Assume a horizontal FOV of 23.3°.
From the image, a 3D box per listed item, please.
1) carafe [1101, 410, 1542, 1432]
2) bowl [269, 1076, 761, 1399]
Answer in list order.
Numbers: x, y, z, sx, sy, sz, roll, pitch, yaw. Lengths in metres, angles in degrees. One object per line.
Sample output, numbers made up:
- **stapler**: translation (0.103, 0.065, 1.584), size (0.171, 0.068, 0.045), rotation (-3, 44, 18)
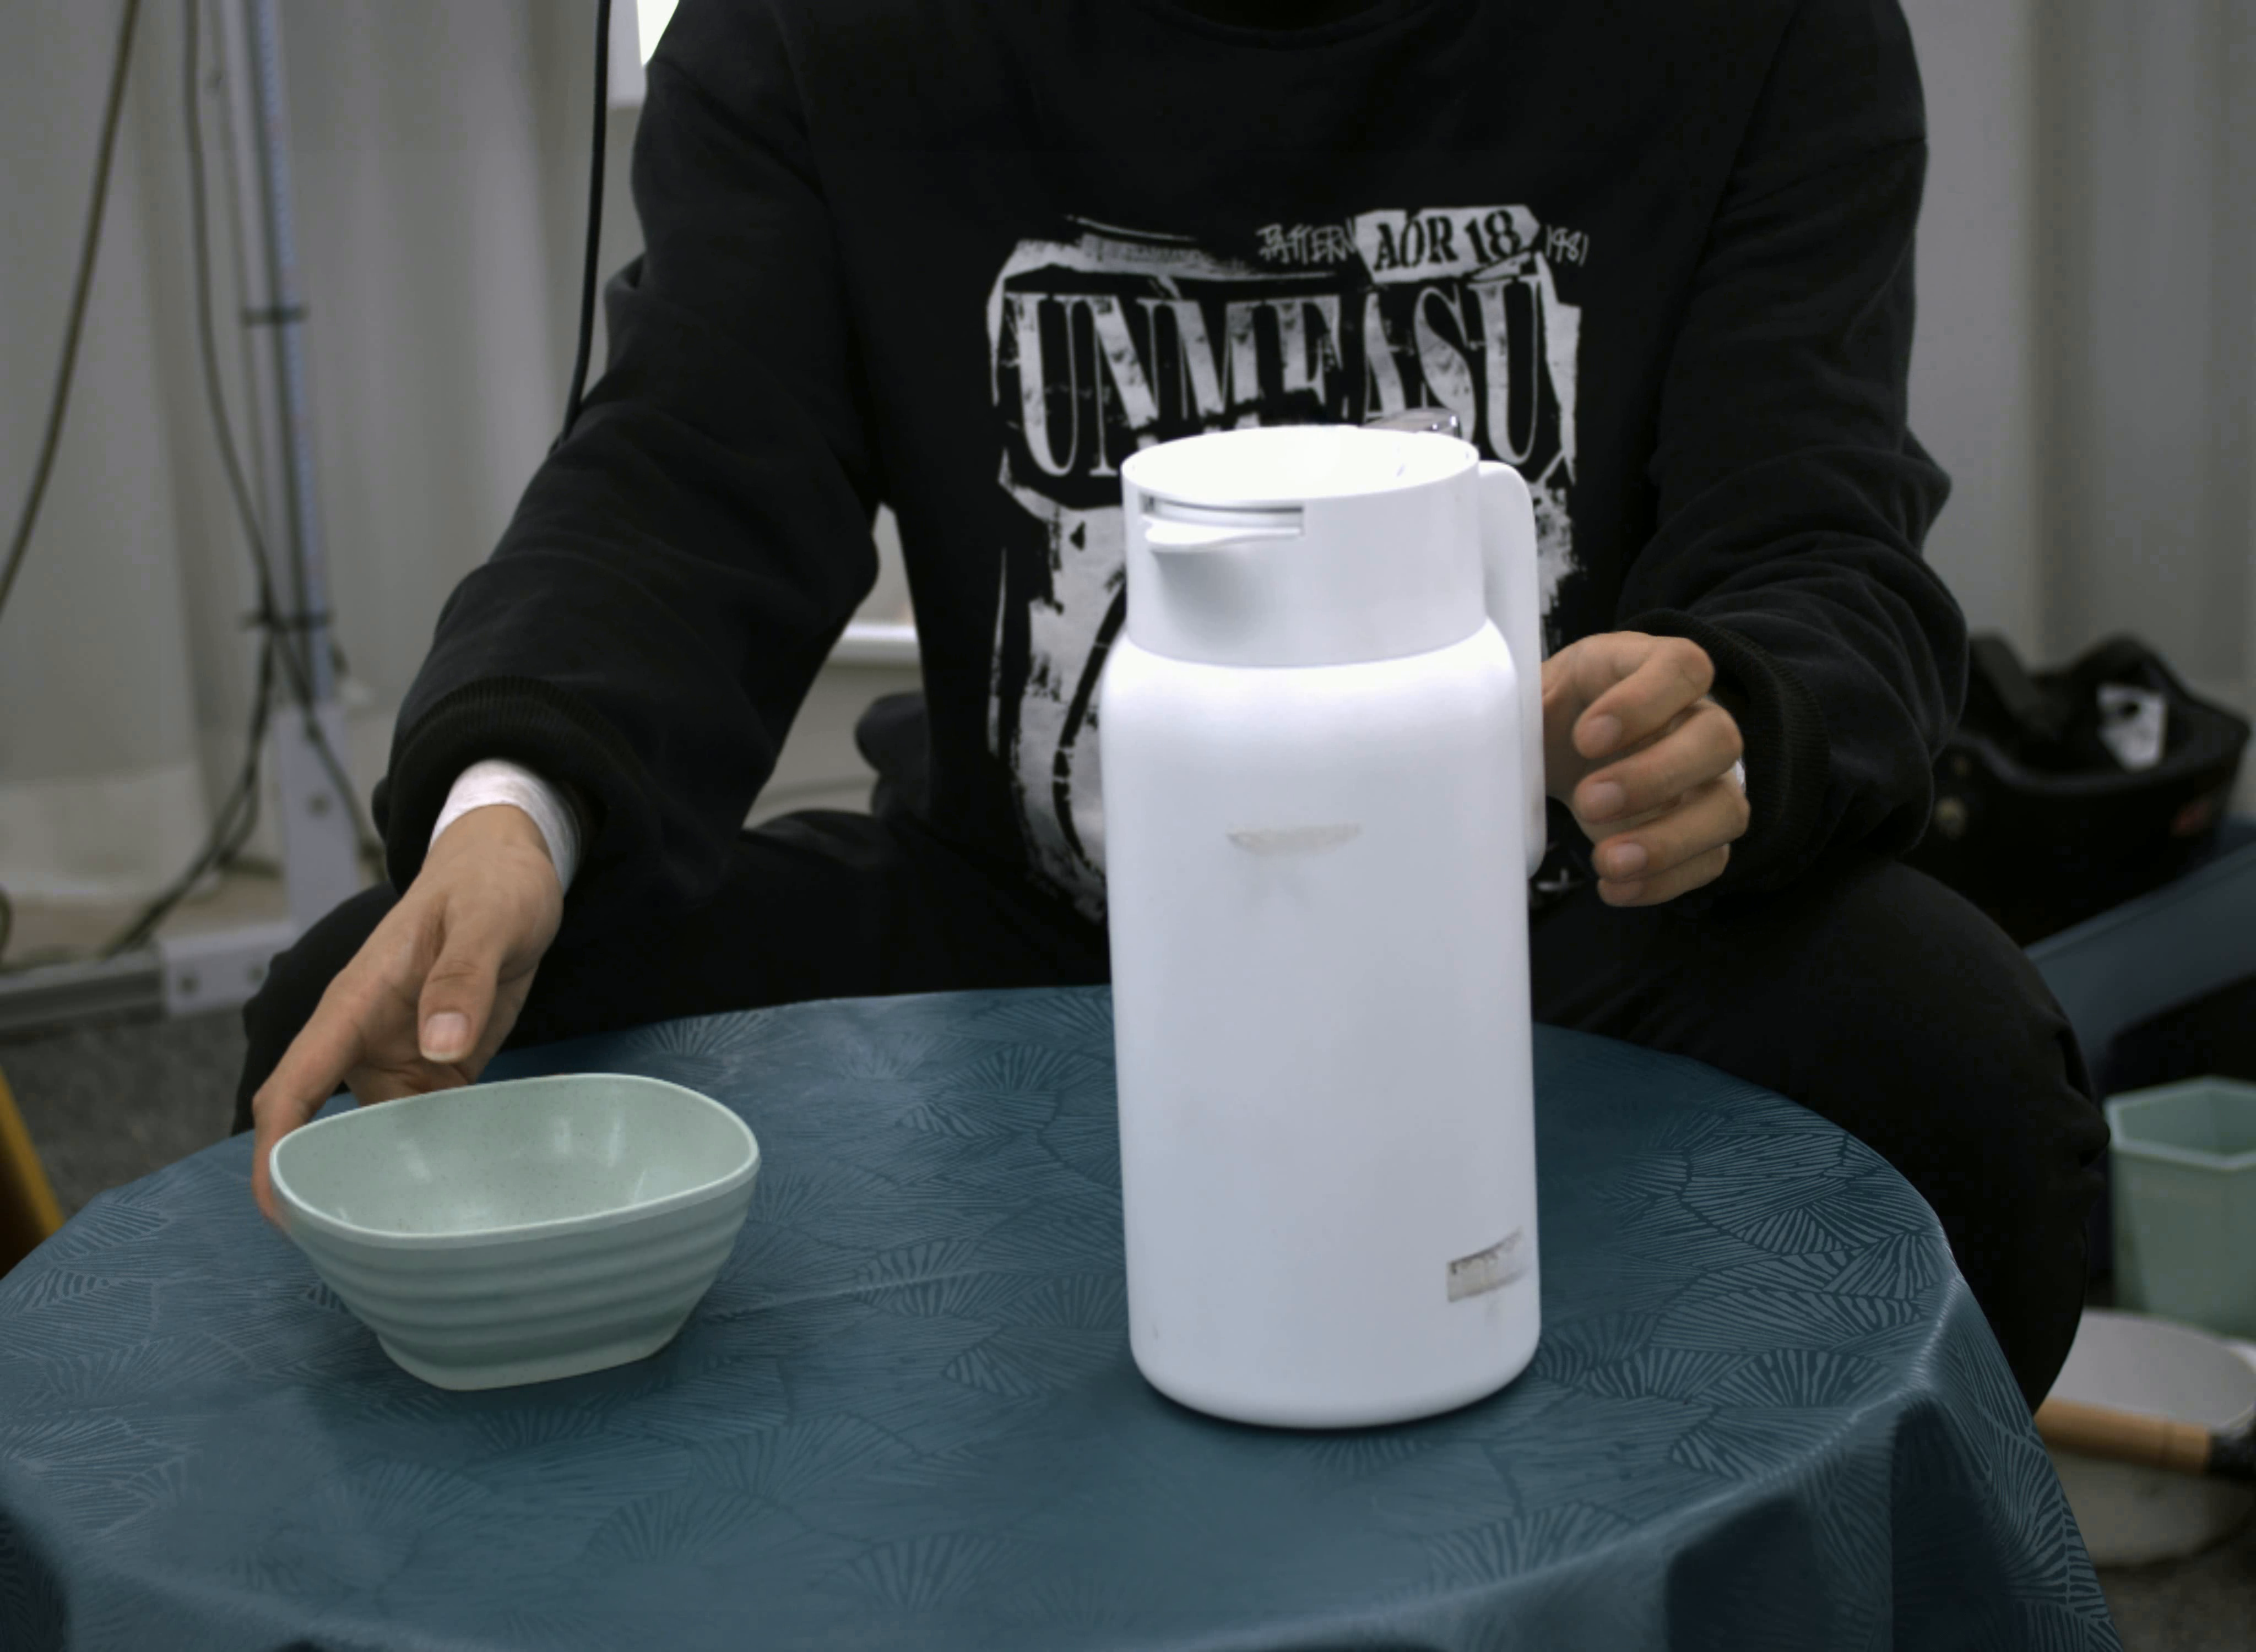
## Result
- **carafe**: translation (0.062, 0.022, 1.537), size (0.124, 0.268, 0.173), rotation (4, 15, 33)
- **bowl**: translation (-0.179, 0.124, 1.609), size (0.151, 0.058, 0.152), rotation (-2, 15, 0)
